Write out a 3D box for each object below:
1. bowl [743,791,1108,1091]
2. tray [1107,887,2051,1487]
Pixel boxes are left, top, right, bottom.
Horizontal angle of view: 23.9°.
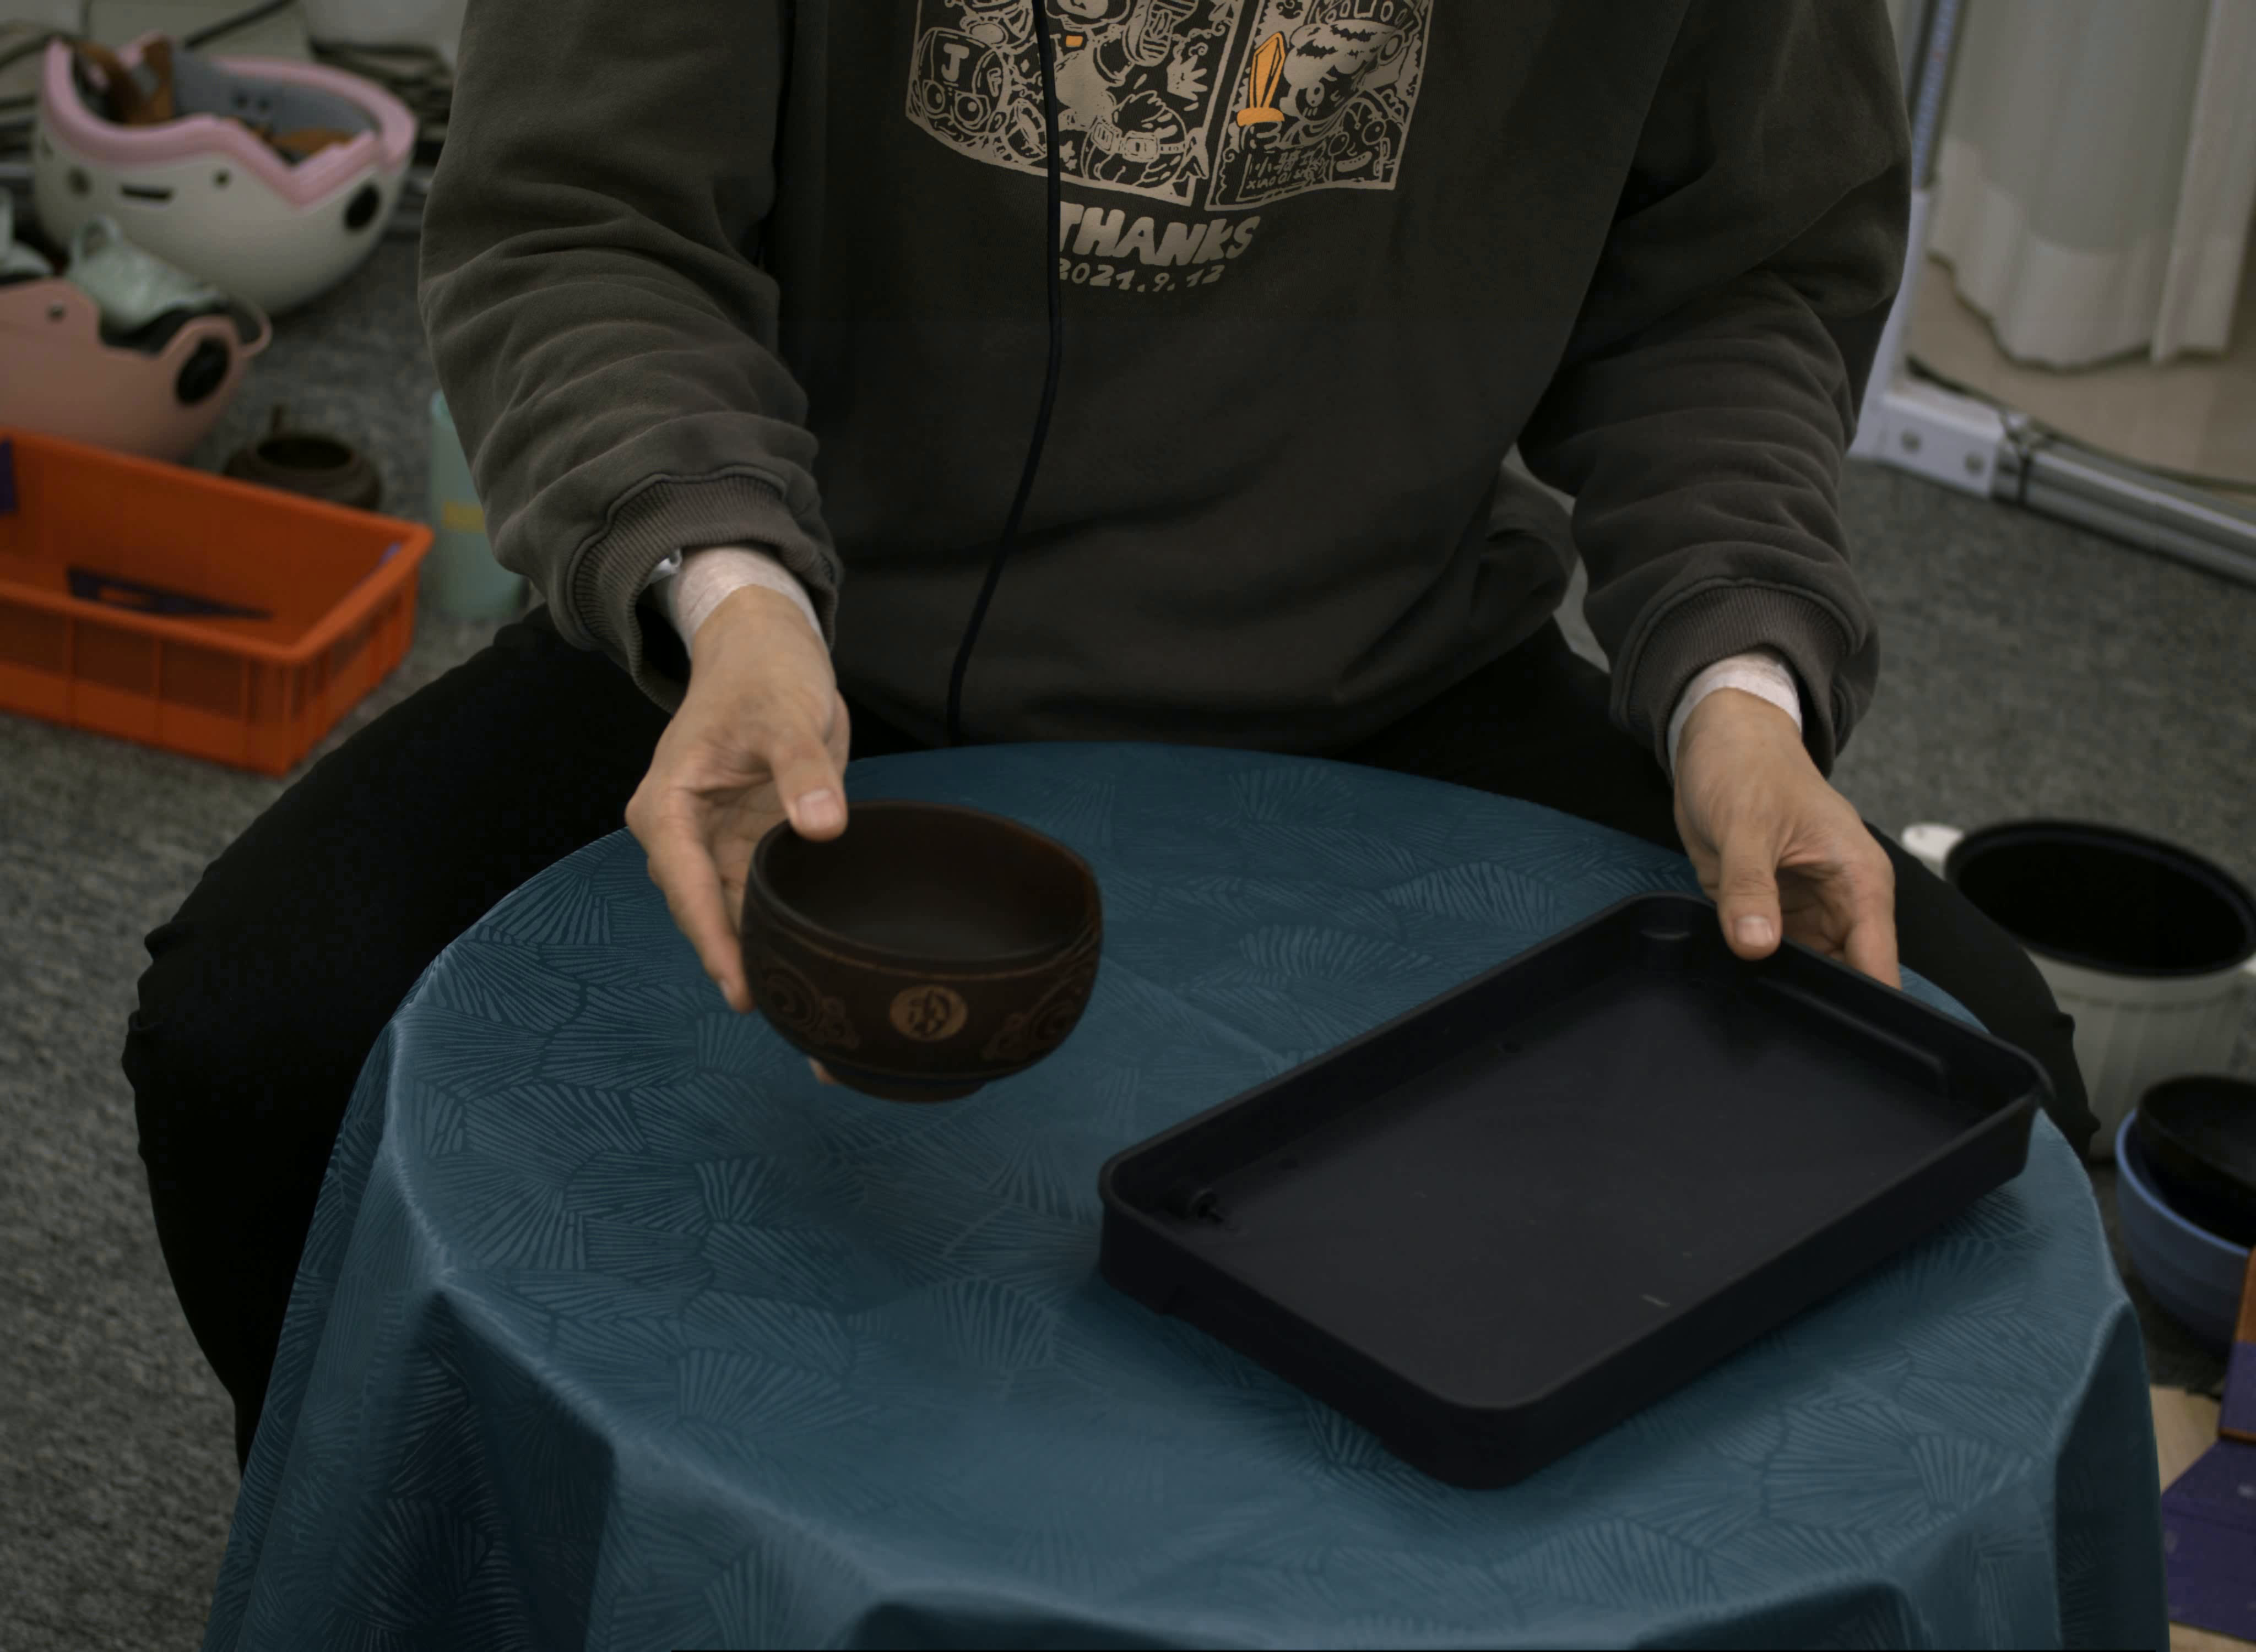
[{"bbox_3d":[-0.067,0.043,1.721,0.117,0.069,0.118,6,23,-3],"label":"bowl"},{"bbox_3d":[0.156,0.115,1.803,0.185,0.037,0.317,25,35,35],"label":"tray"}]
